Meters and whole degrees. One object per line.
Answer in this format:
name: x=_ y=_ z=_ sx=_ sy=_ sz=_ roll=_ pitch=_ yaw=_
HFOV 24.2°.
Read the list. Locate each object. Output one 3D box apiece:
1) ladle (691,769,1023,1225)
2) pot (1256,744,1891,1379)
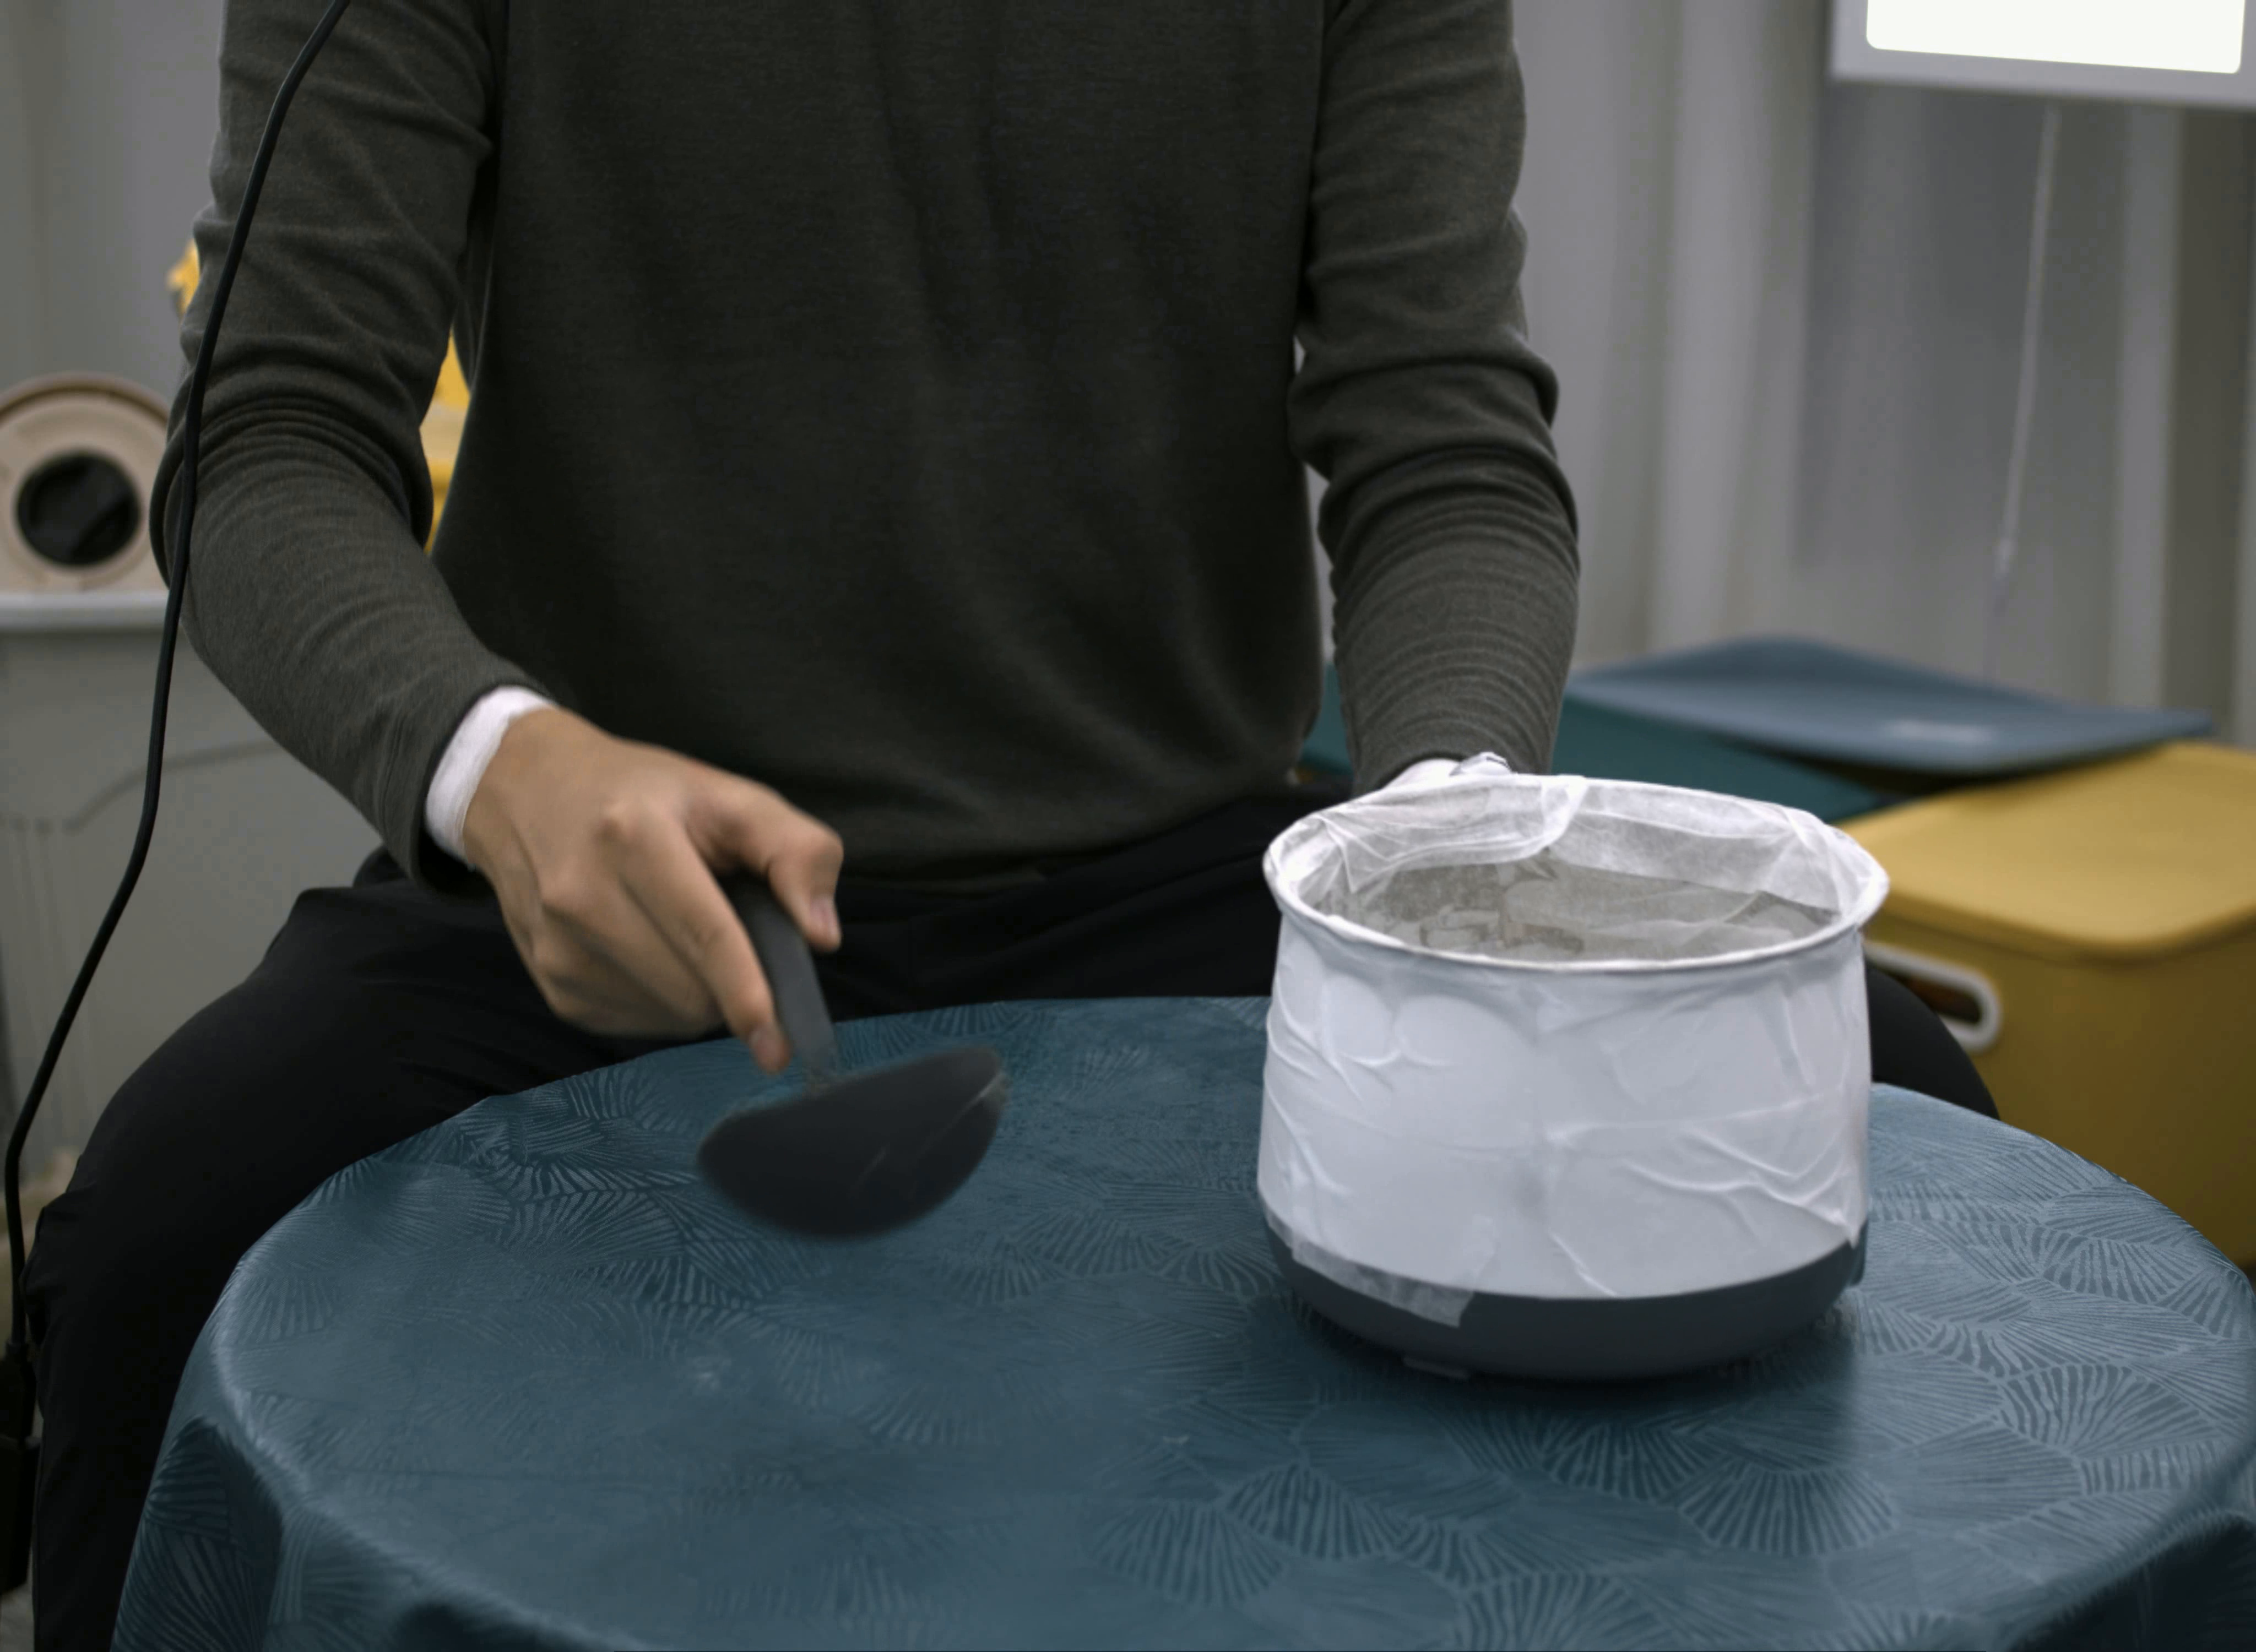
ladle: x=-0.096 y=0.028 z=1.491 sx=0.086 sy=0.064 sz=0.310 roll=-10 pitch=26 yaw=-9
pot: x=0.120 y=0.062 z=1.531 sx=0.179 sy=0.138 sz=0.231 roll=-3 pitch=18 yaw=-12
